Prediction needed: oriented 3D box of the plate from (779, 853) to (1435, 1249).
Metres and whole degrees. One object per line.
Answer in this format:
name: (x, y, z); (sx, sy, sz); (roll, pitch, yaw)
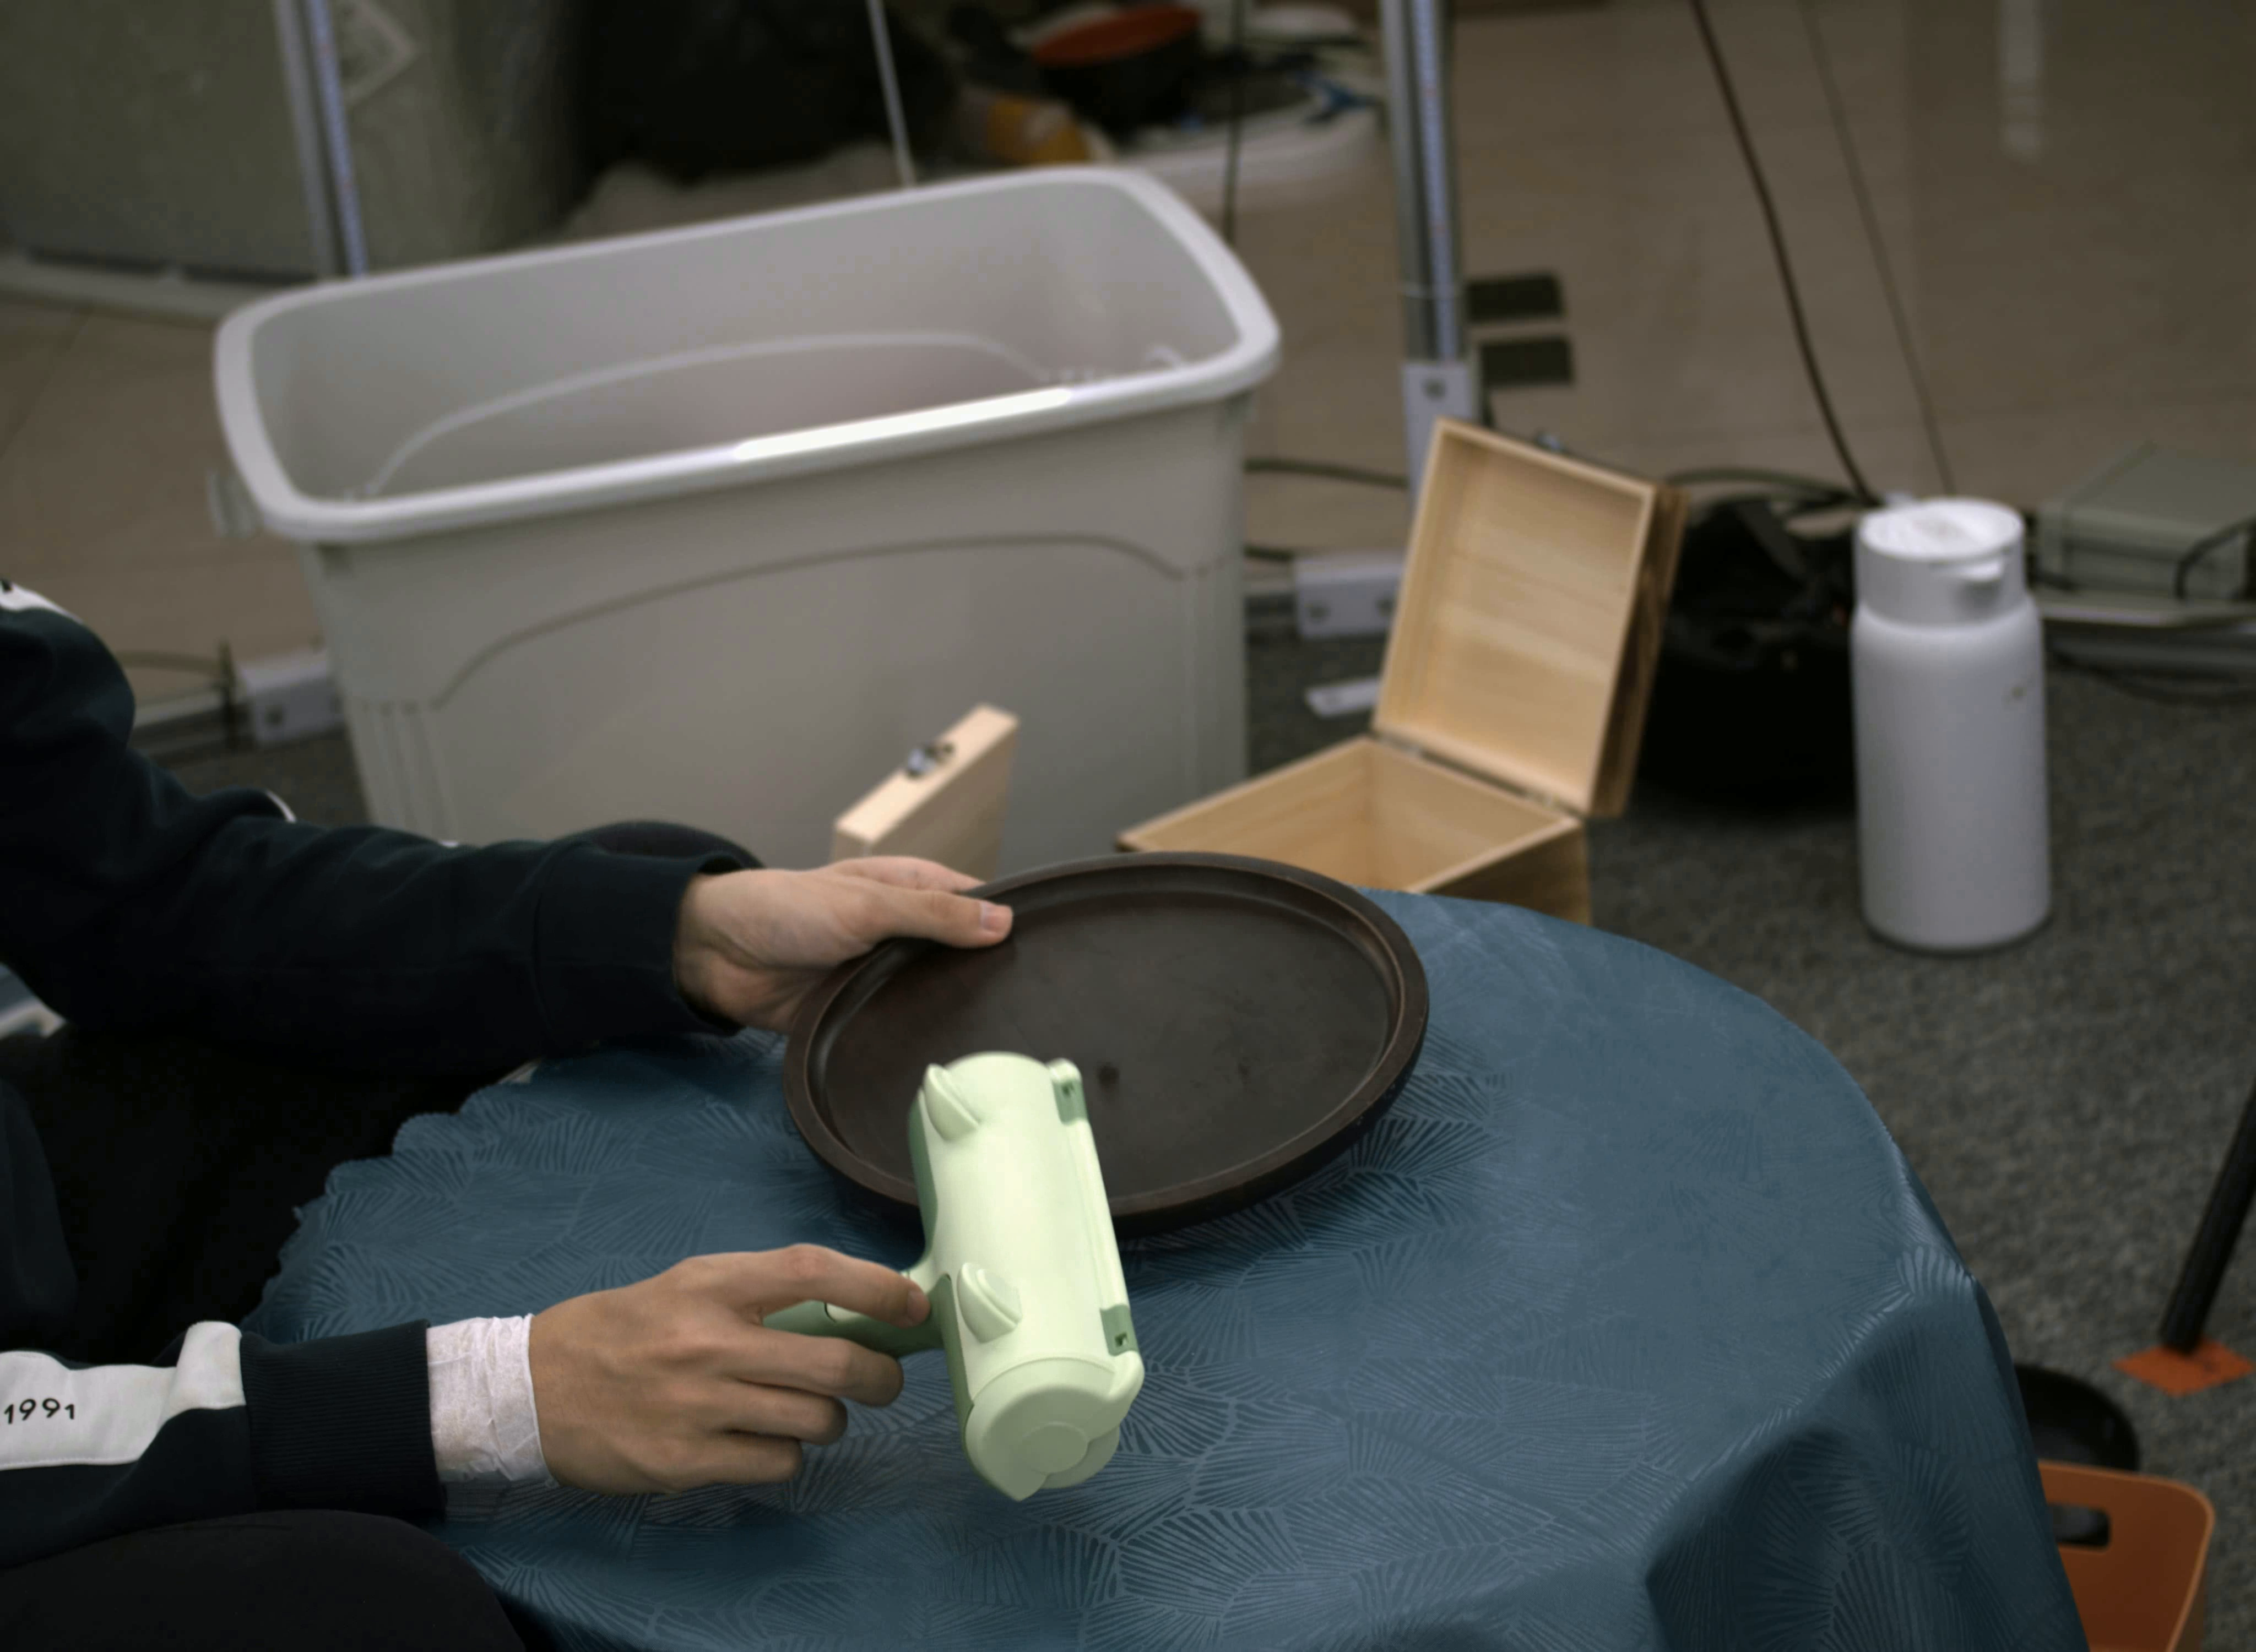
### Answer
plate: (-0.007, 0.085, 2.183); (0.254, 0.029, 0.250); (-7, 33, 4)

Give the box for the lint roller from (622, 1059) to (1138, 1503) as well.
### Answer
lint roller: (-0.094, 0.161, 1.956); (0.183, 0.083, 0.195); (-15, 33, 2)
